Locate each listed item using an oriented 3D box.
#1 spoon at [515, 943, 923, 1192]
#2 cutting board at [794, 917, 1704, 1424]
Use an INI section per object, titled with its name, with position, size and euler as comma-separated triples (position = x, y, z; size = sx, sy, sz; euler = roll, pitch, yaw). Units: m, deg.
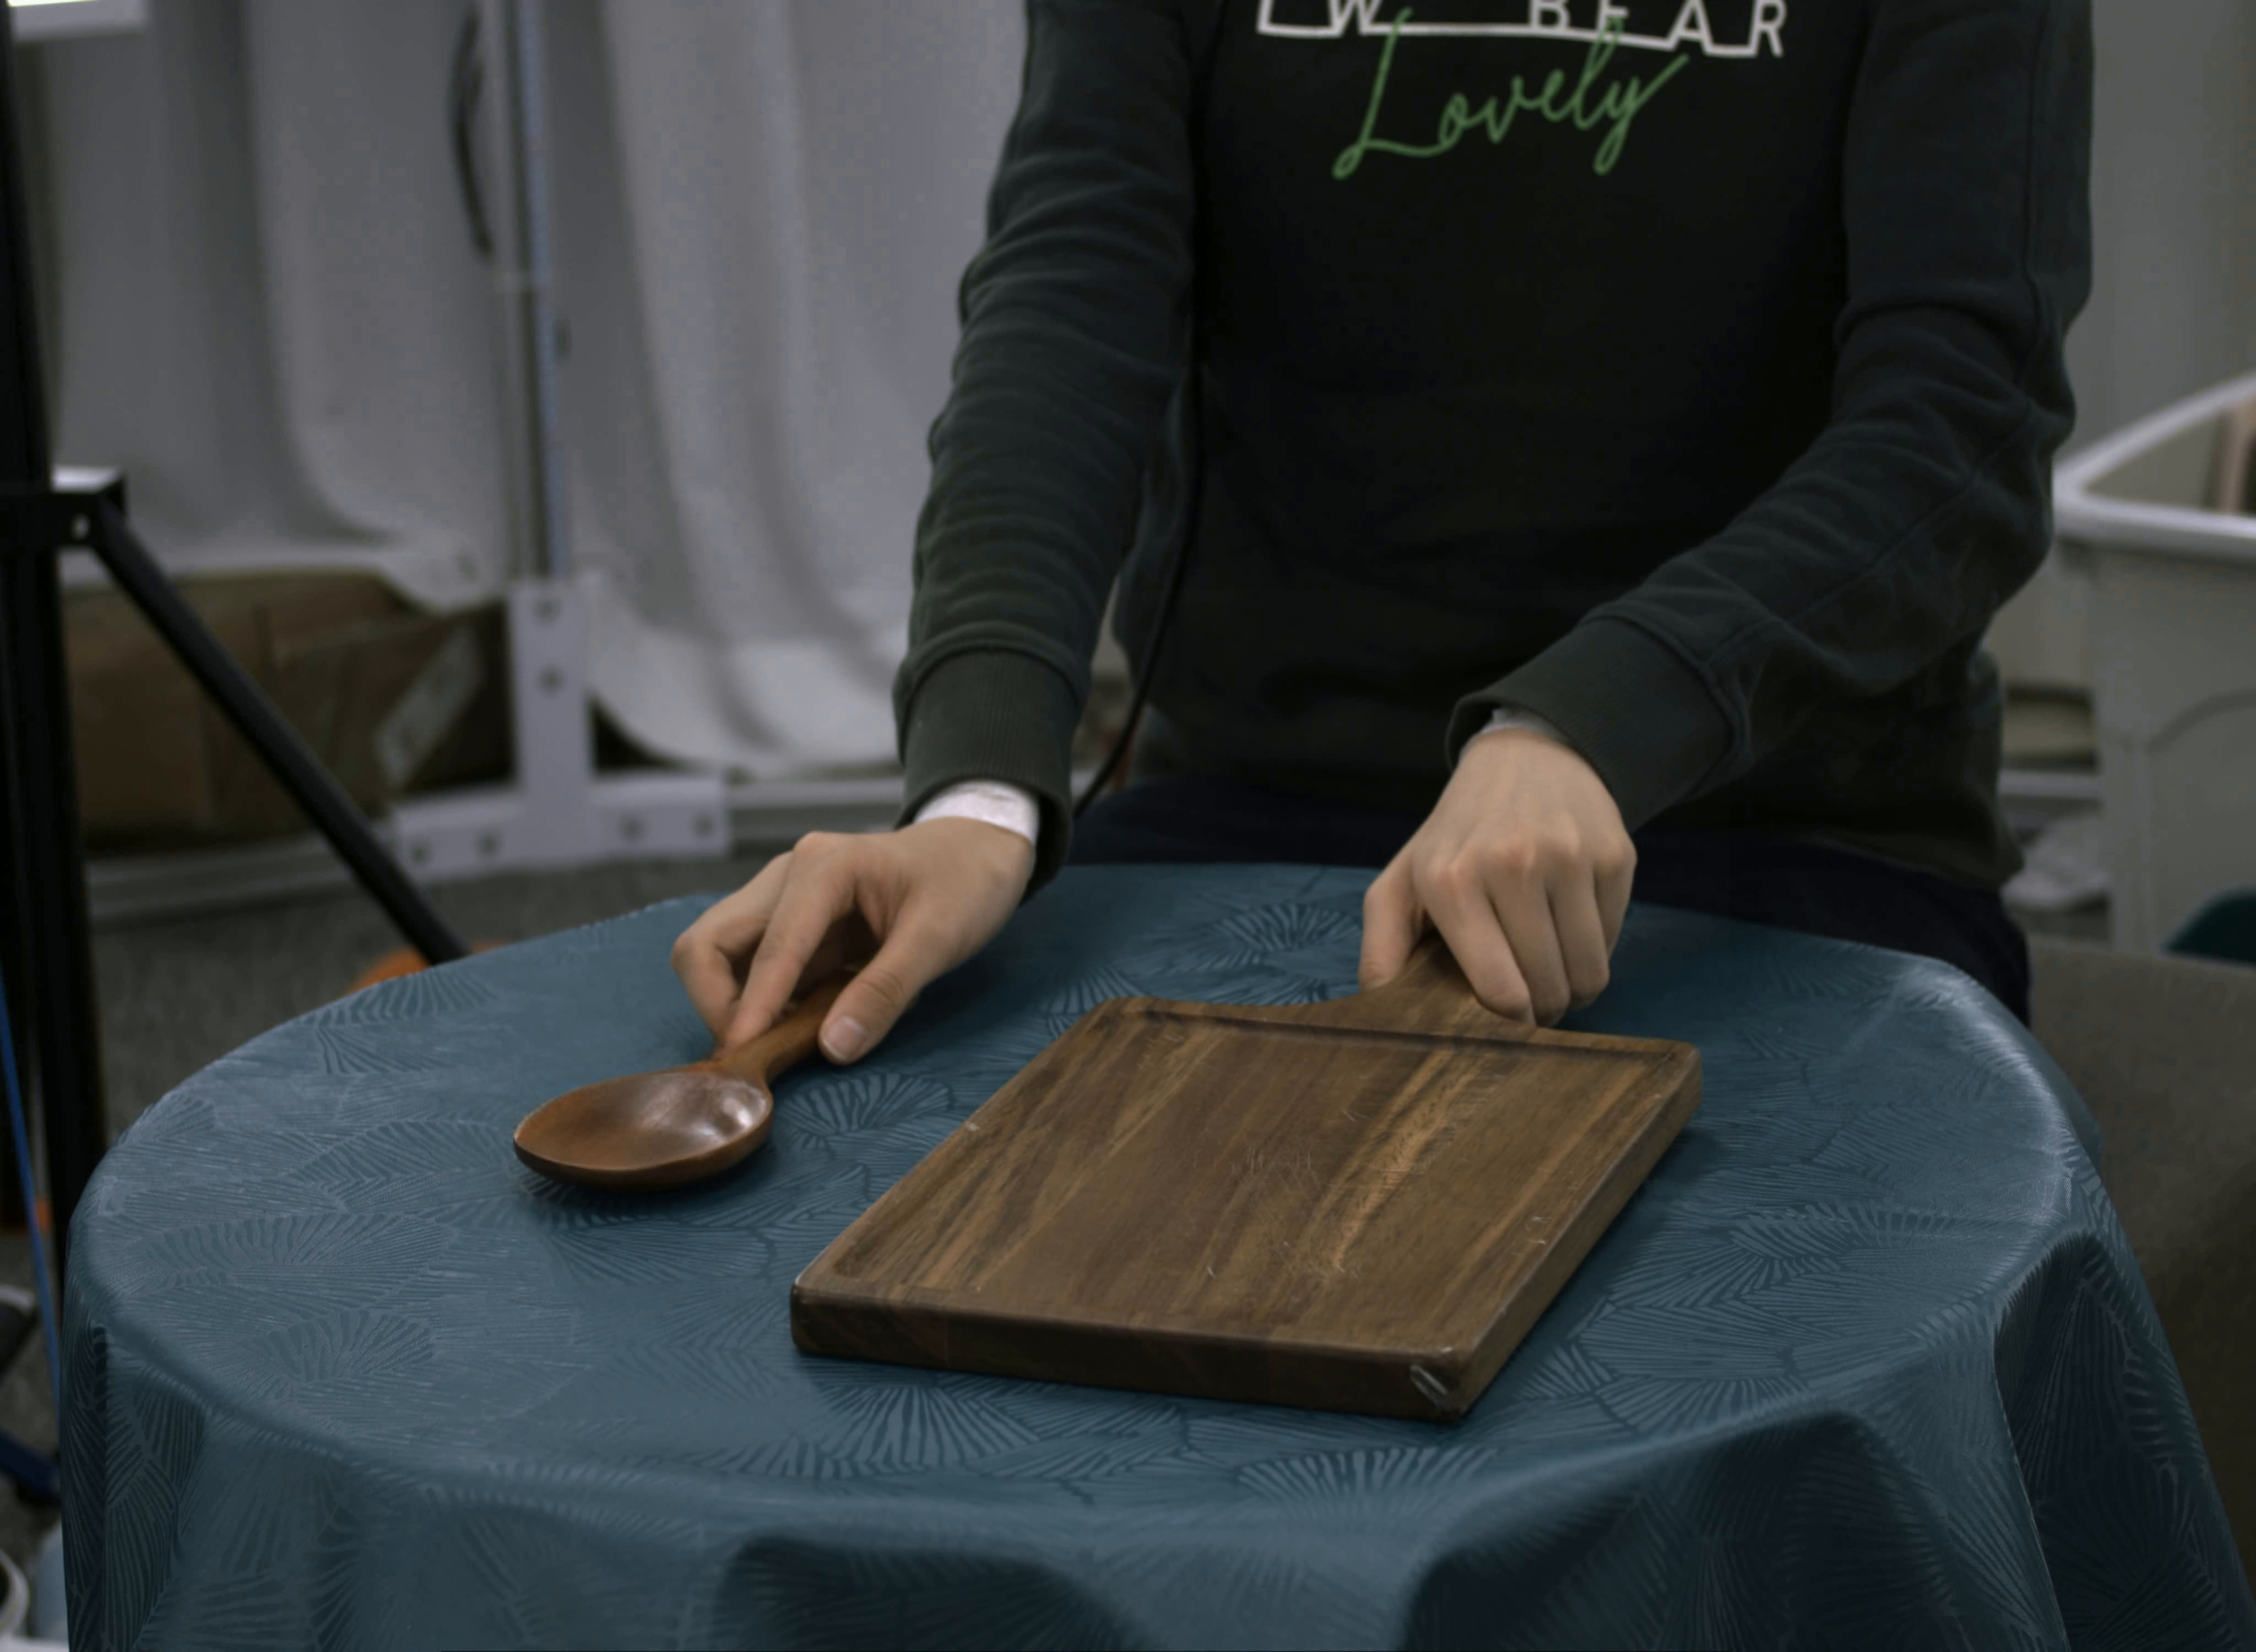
[spoon]
position = -0.117, 0.076, 1.654
size = 0.076, 0.017, 0.213
euler = 3, 18, 25
[cutting board]
position = 0.058, 0.091, 1.557
size = 0.203, 0.023, 0.348
euler = 3, 18, 21
